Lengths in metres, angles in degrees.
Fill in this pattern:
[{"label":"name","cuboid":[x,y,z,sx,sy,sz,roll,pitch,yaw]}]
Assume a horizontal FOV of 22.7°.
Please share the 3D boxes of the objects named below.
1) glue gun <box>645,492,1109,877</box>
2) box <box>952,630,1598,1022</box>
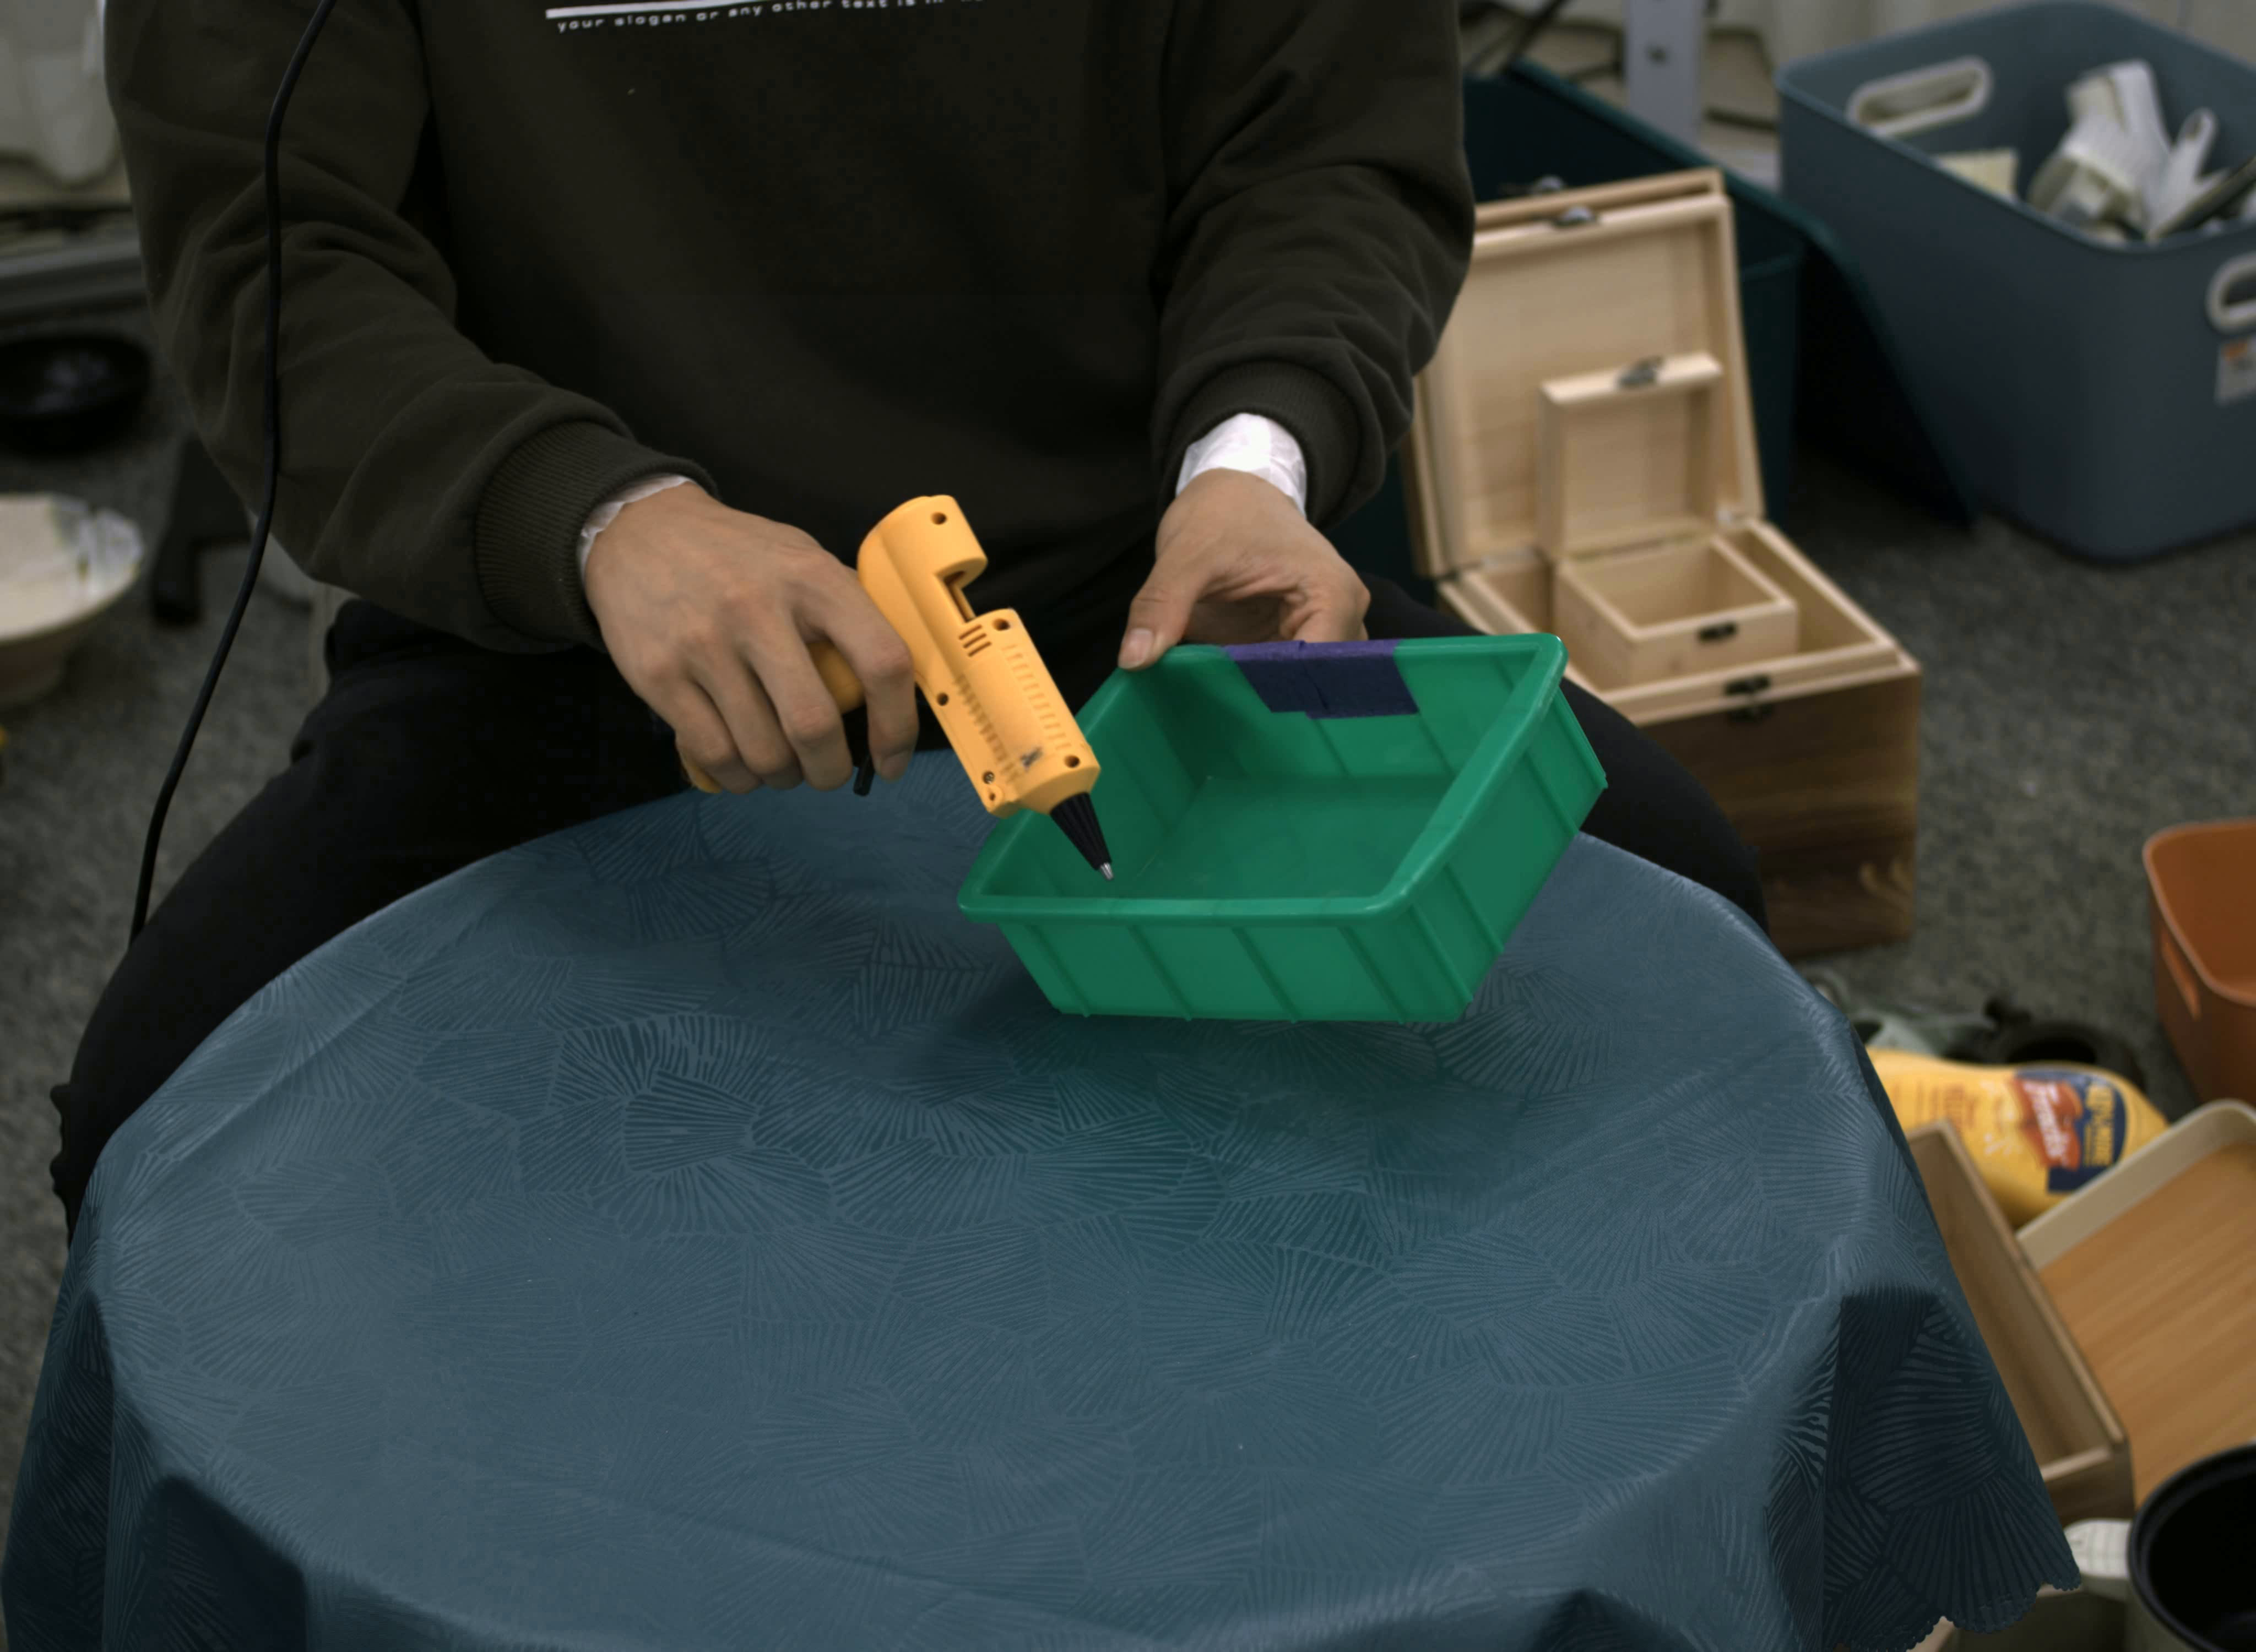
[{"label":"glue gun","cuboid":[-0.078,-0.020,1.935,0.132,0.152,0.031,-36,-18,7]},{"label":"box","cuboid":[0.054,0.005,1.938,0.208,0.065,0.141,-4,38,41]}]
